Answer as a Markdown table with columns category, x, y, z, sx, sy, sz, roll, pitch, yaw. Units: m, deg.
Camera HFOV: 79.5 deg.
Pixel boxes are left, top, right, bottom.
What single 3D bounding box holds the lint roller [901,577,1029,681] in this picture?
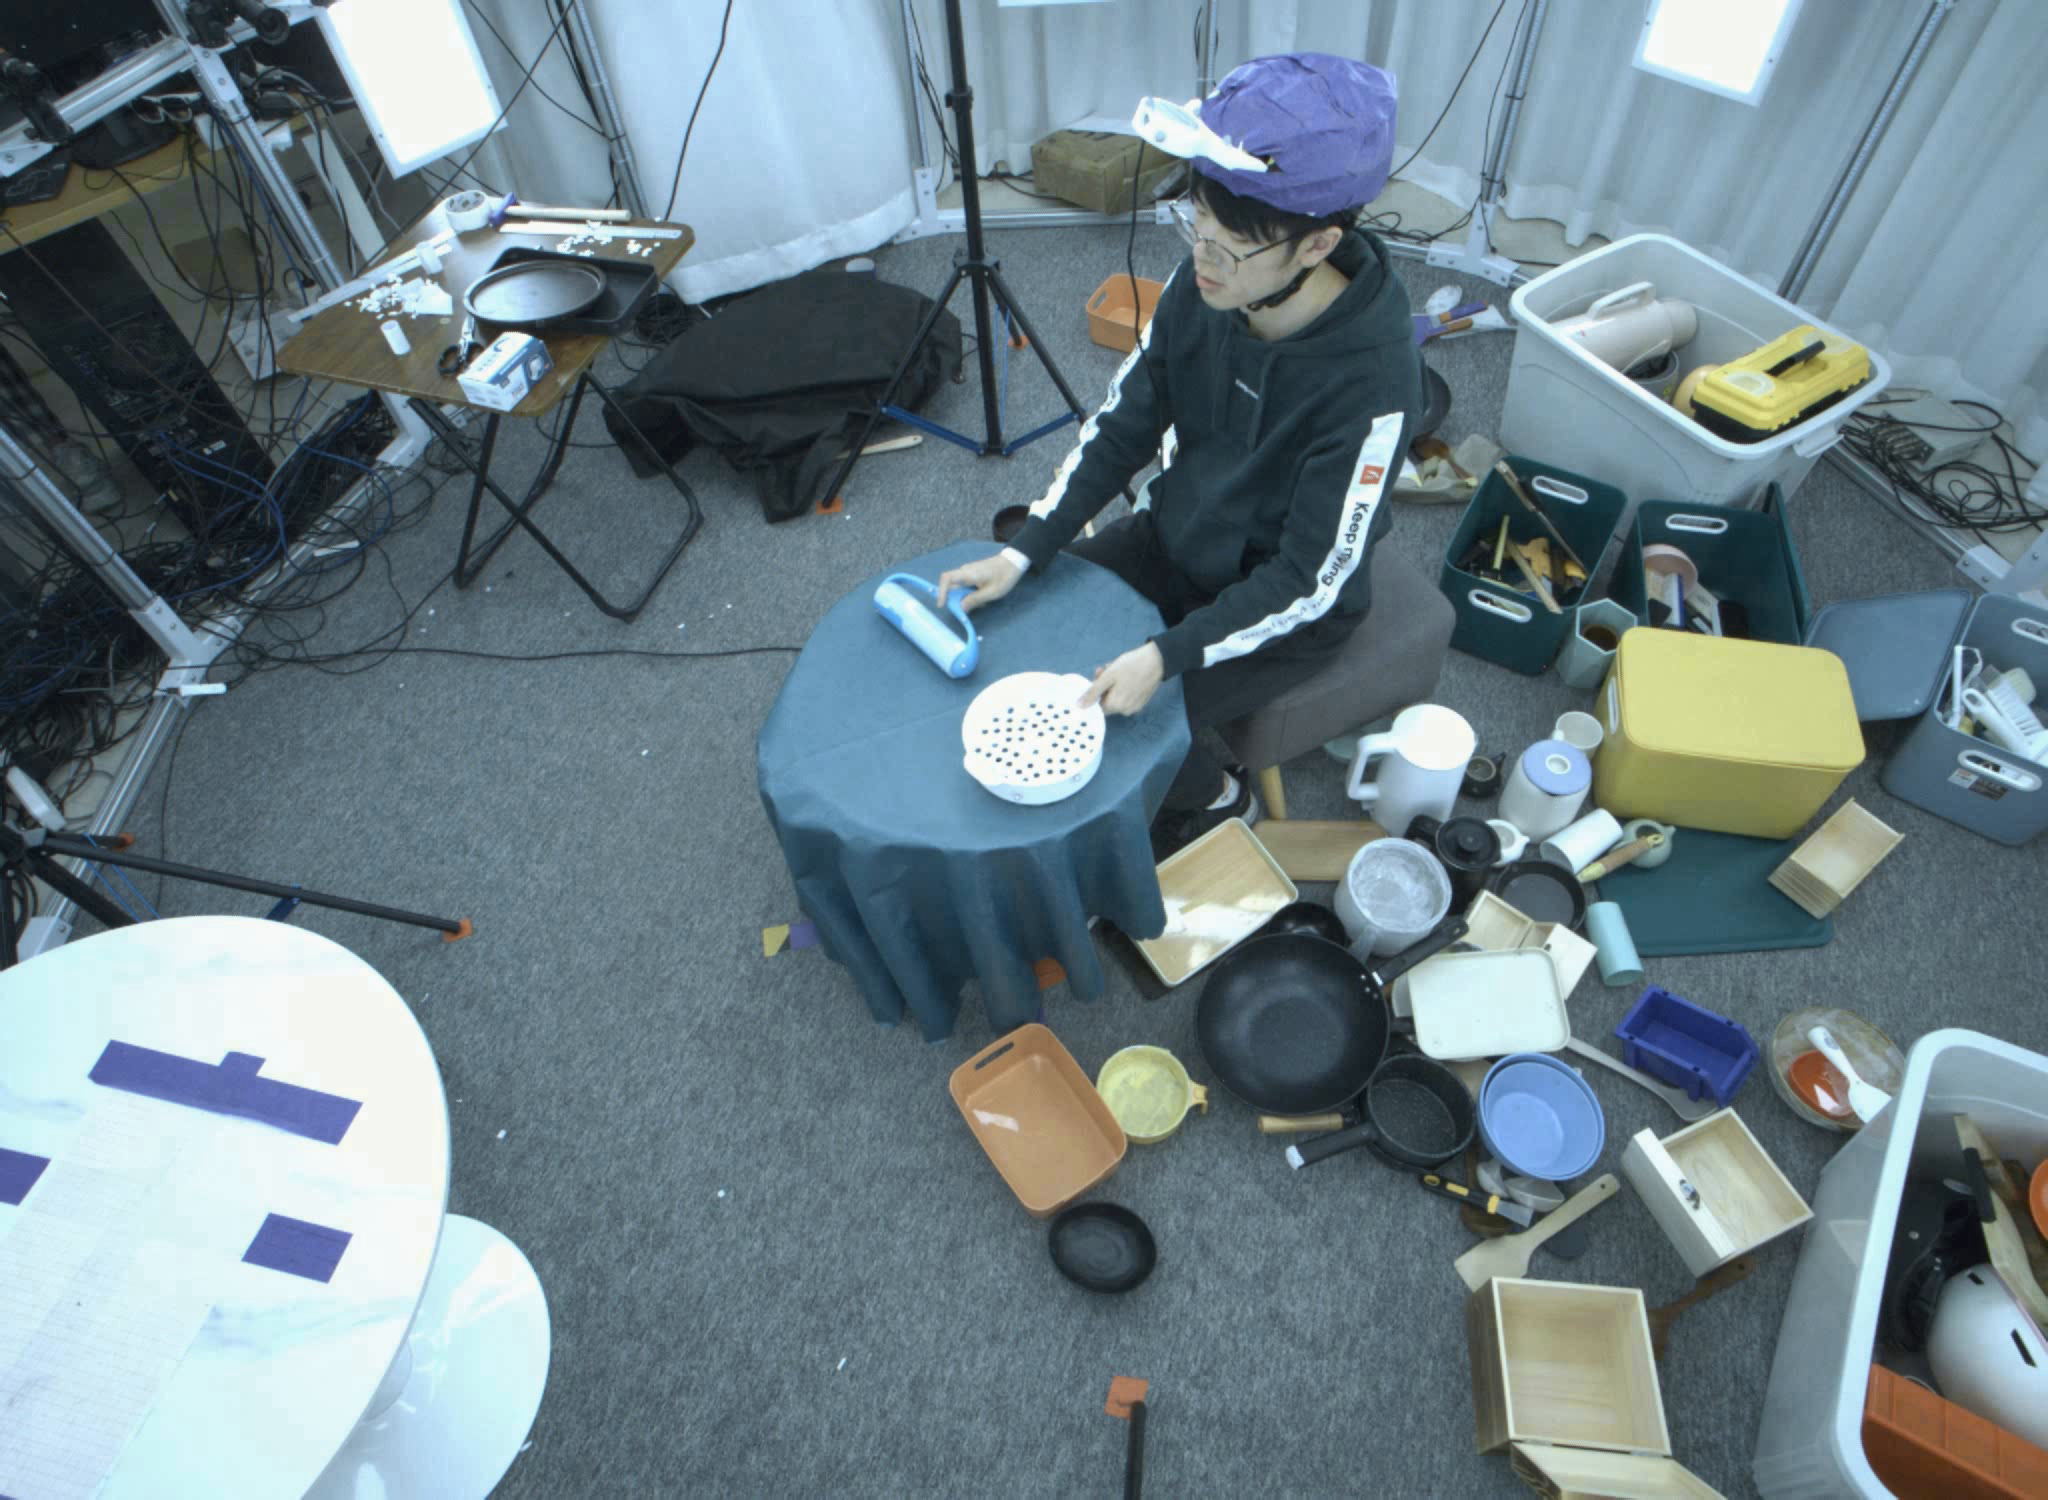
| category | x | y | z | sx | sy | sz | roll | pitch | yaw |
| --- | --- | --- | --- | --- | --- | --- | --- | --- | --- |
| lint roller | -0.068 | -0.217 | 1.905 | 0.181 | 0.069 | 0.224 | -39 | 60 | -22 |

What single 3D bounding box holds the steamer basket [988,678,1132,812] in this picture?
| category | x | y | z | sx | sy | sz | roll | pitch | yaw |
| --- | --- | --- | --- | --- | --- | --- | --- | --- | --- |
| steamer basket | 0.051 | -0.006 | 1.743 | 0.232 | 0.070 | 0.198 | -37 | 62 | -23 |
